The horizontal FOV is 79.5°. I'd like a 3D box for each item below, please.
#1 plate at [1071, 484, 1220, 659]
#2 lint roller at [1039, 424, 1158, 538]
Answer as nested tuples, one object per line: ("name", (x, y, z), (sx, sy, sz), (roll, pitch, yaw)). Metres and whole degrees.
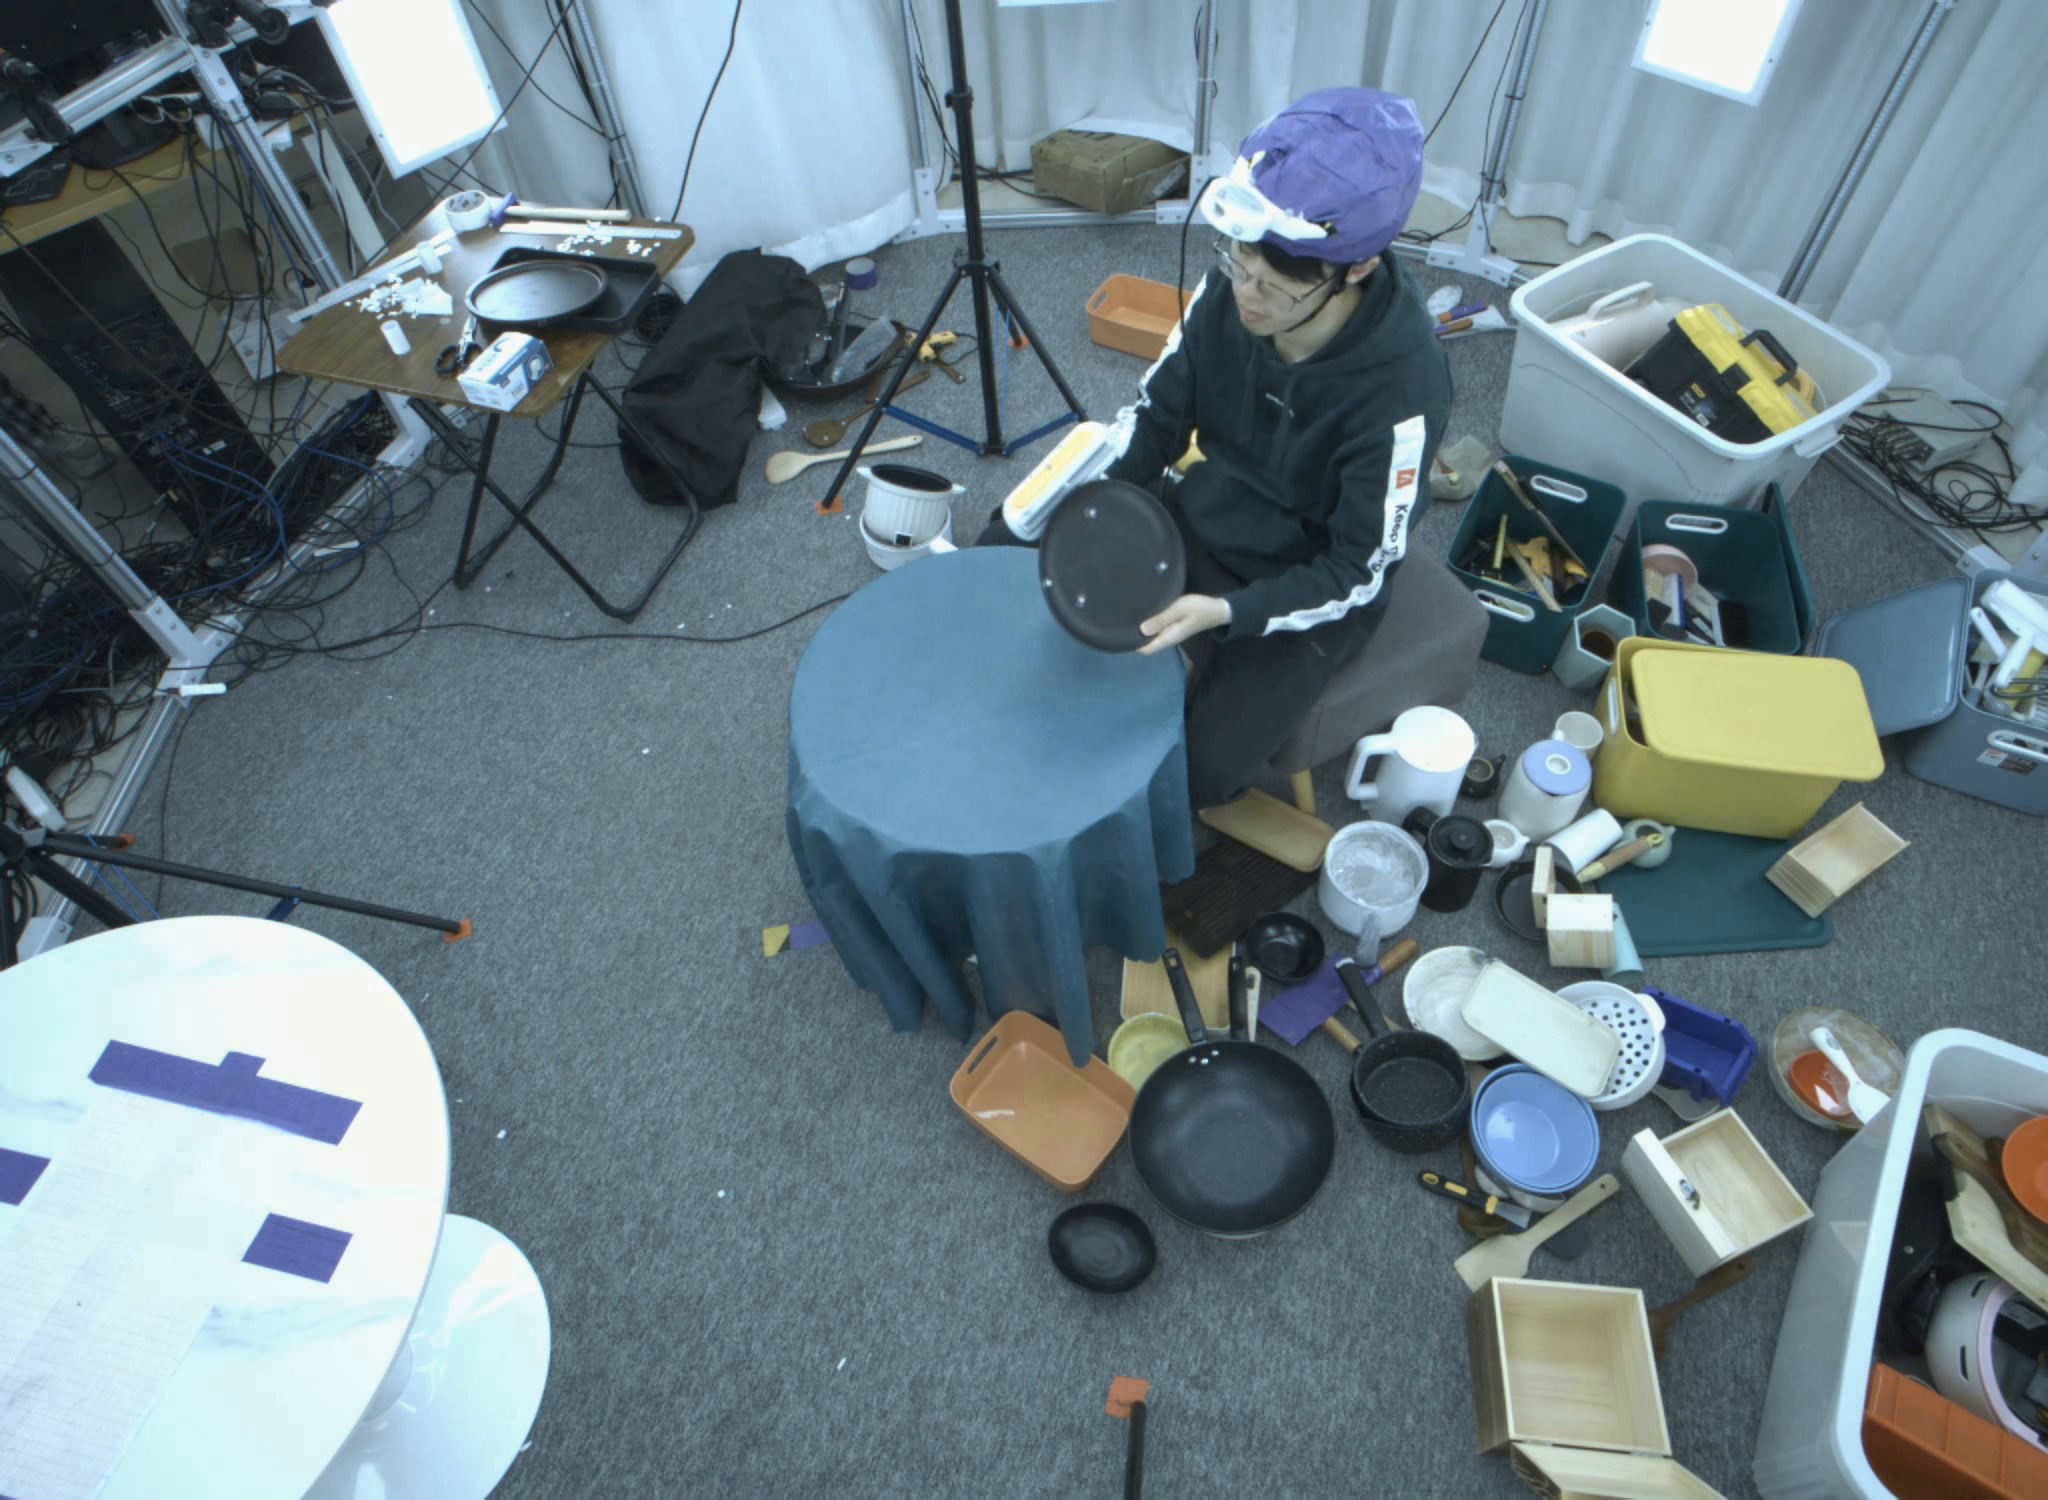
("plate", (0.168, -0.249, 1.713), (0.246, 0.247, 0.023), (-37, 20, -21))
("lint roller", (0.116, -0.357, 1.744), (0.193, 0.196, 0.073), (-47, 62, -2))
